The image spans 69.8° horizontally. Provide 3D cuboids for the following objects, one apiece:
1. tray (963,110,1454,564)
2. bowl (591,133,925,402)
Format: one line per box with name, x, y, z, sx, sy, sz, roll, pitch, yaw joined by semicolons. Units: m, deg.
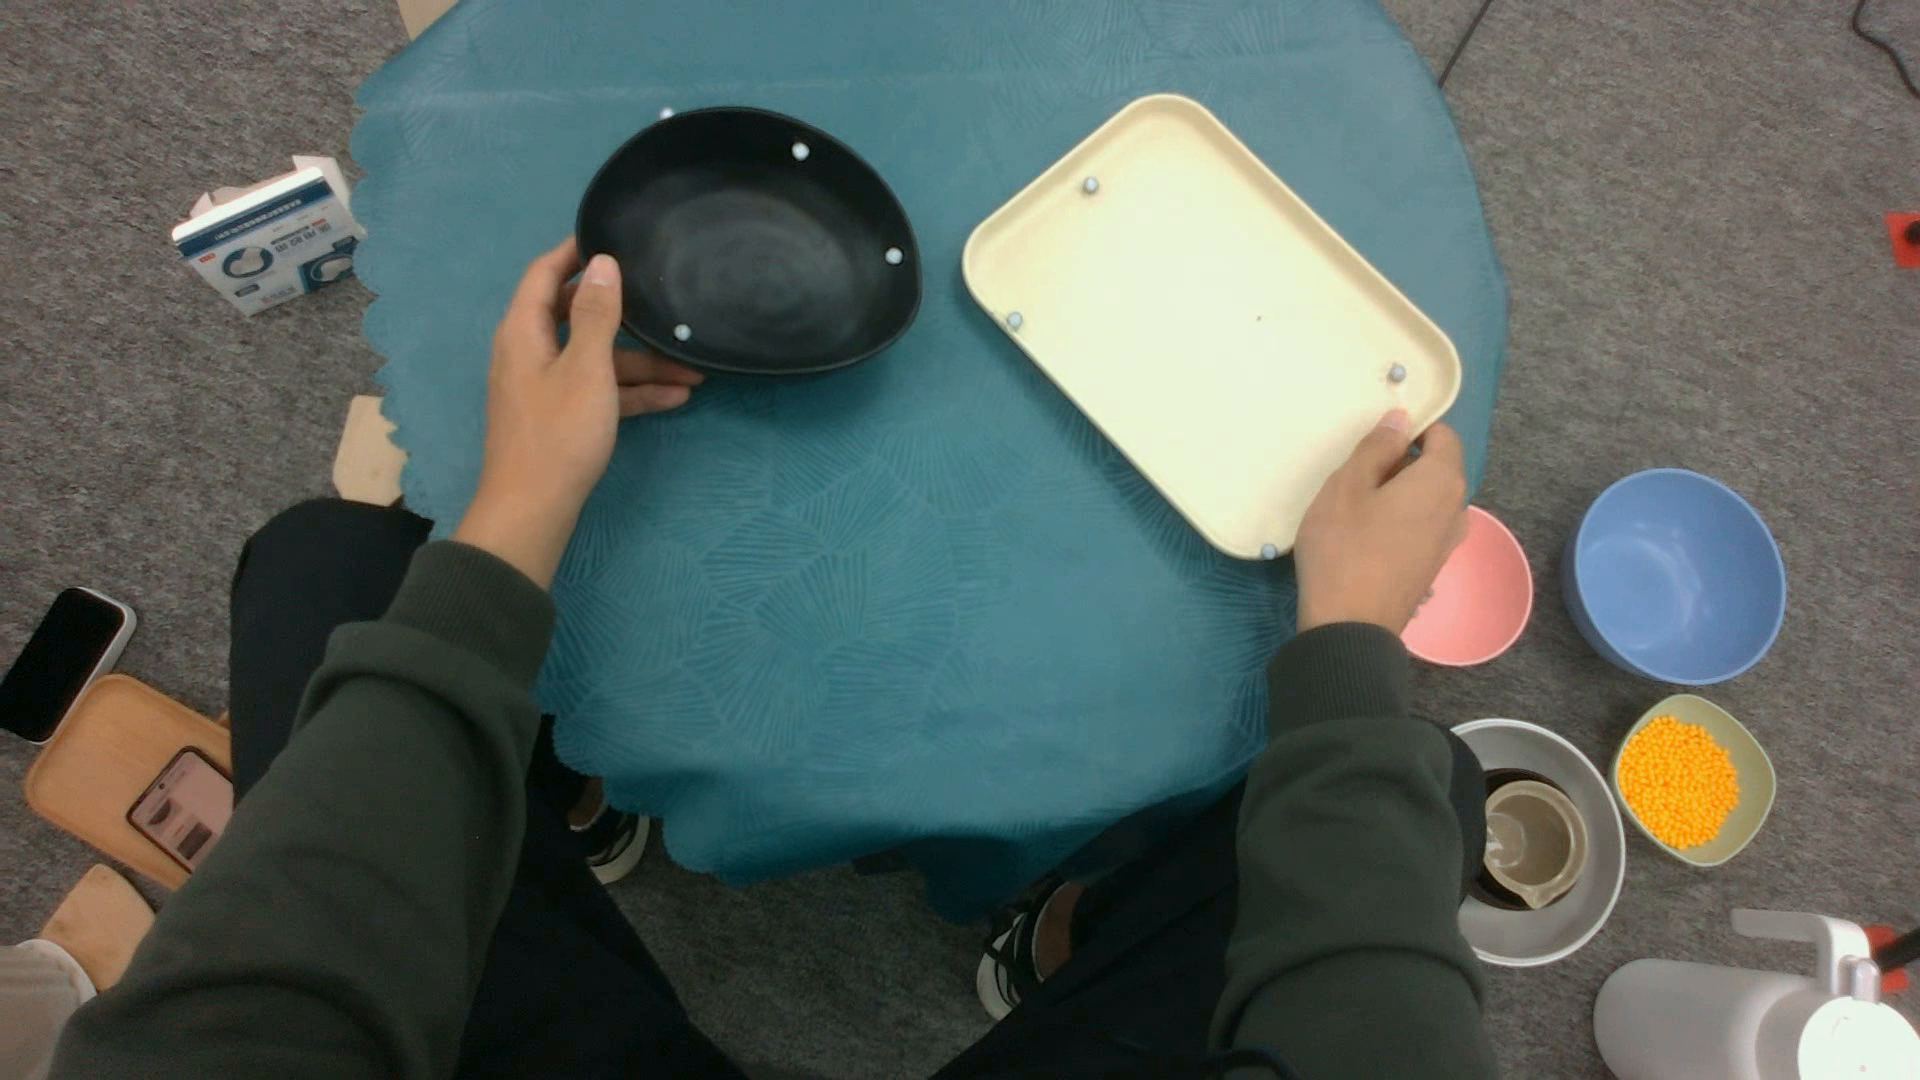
tray;0.131;-0.112;0.740;0.171;0.017;0.240;-41;78;-12
bowl;-0.101;-0.132;0.713;0.170;0.066;0.137;13;77;-3
